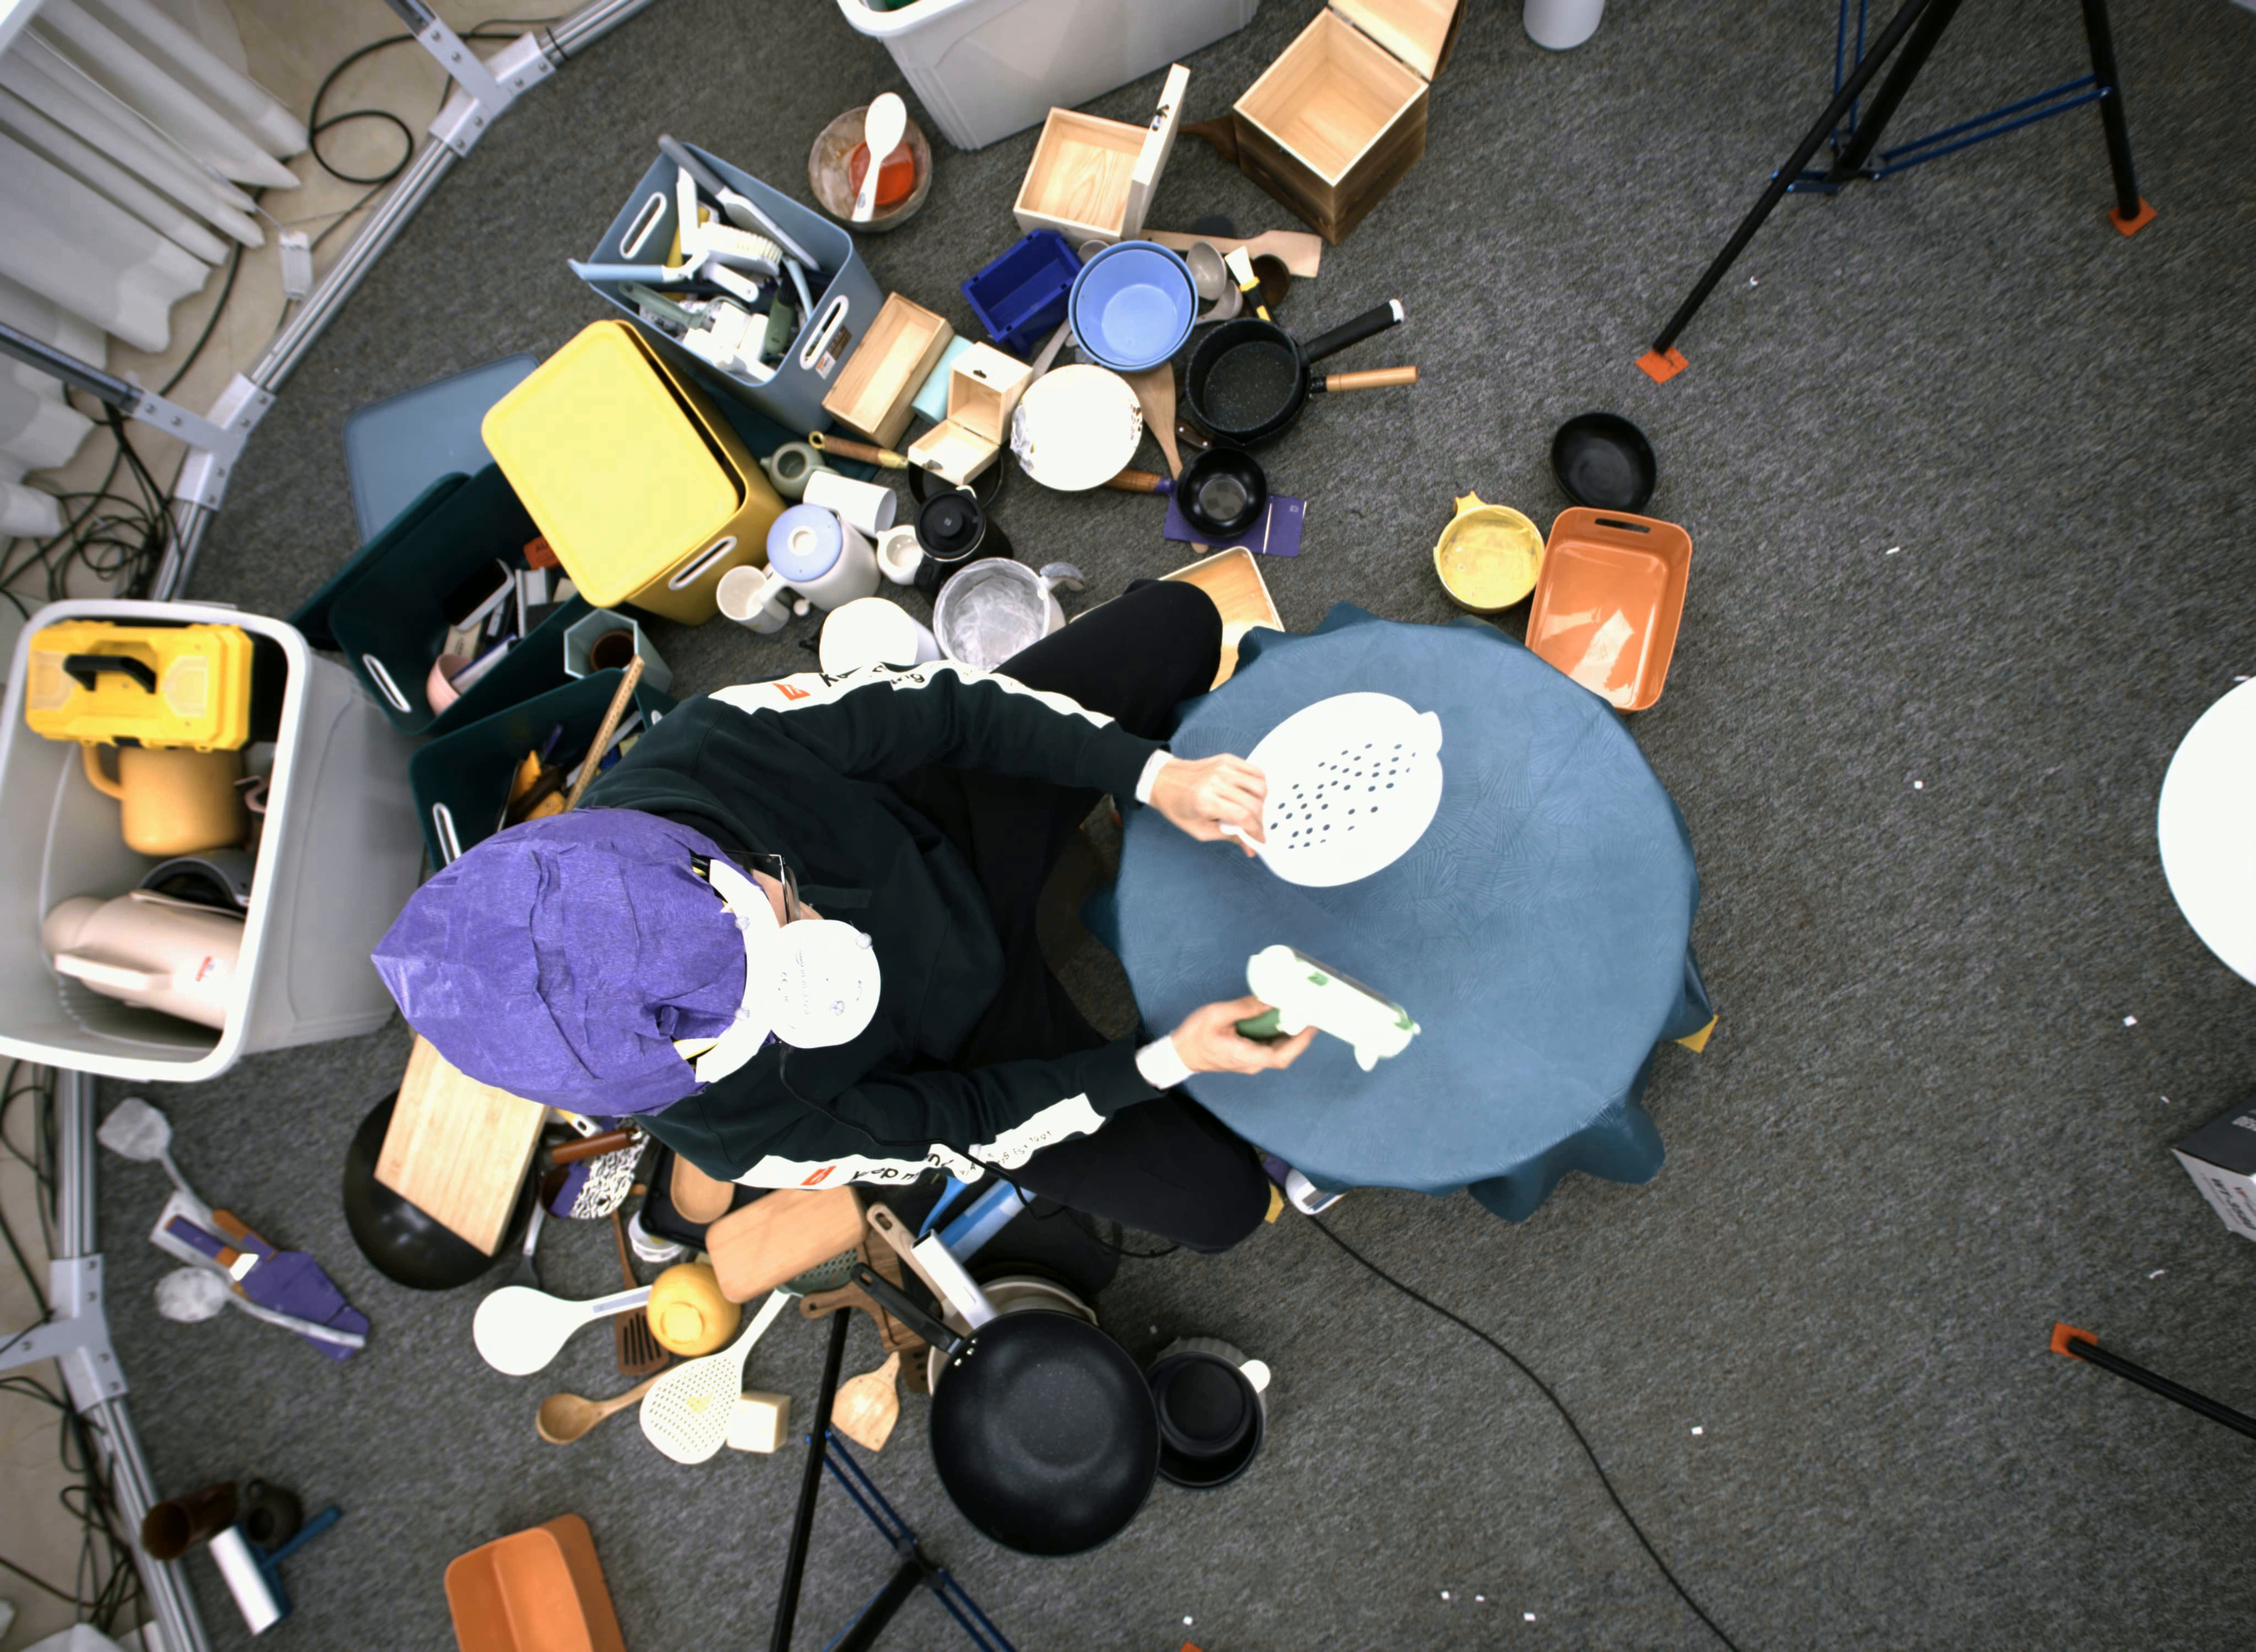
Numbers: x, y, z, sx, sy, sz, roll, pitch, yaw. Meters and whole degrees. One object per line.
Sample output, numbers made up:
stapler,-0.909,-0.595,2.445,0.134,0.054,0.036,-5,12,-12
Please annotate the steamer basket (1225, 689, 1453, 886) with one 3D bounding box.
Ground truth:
steamer basket,0.208,-0.038,1.313,0.233,0.070,0.196,-21,43,22

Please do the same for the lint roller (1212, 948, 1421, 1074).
lint roller,0.157,0.198,1.338,0.186,0.200,0.080,-29,48,32
